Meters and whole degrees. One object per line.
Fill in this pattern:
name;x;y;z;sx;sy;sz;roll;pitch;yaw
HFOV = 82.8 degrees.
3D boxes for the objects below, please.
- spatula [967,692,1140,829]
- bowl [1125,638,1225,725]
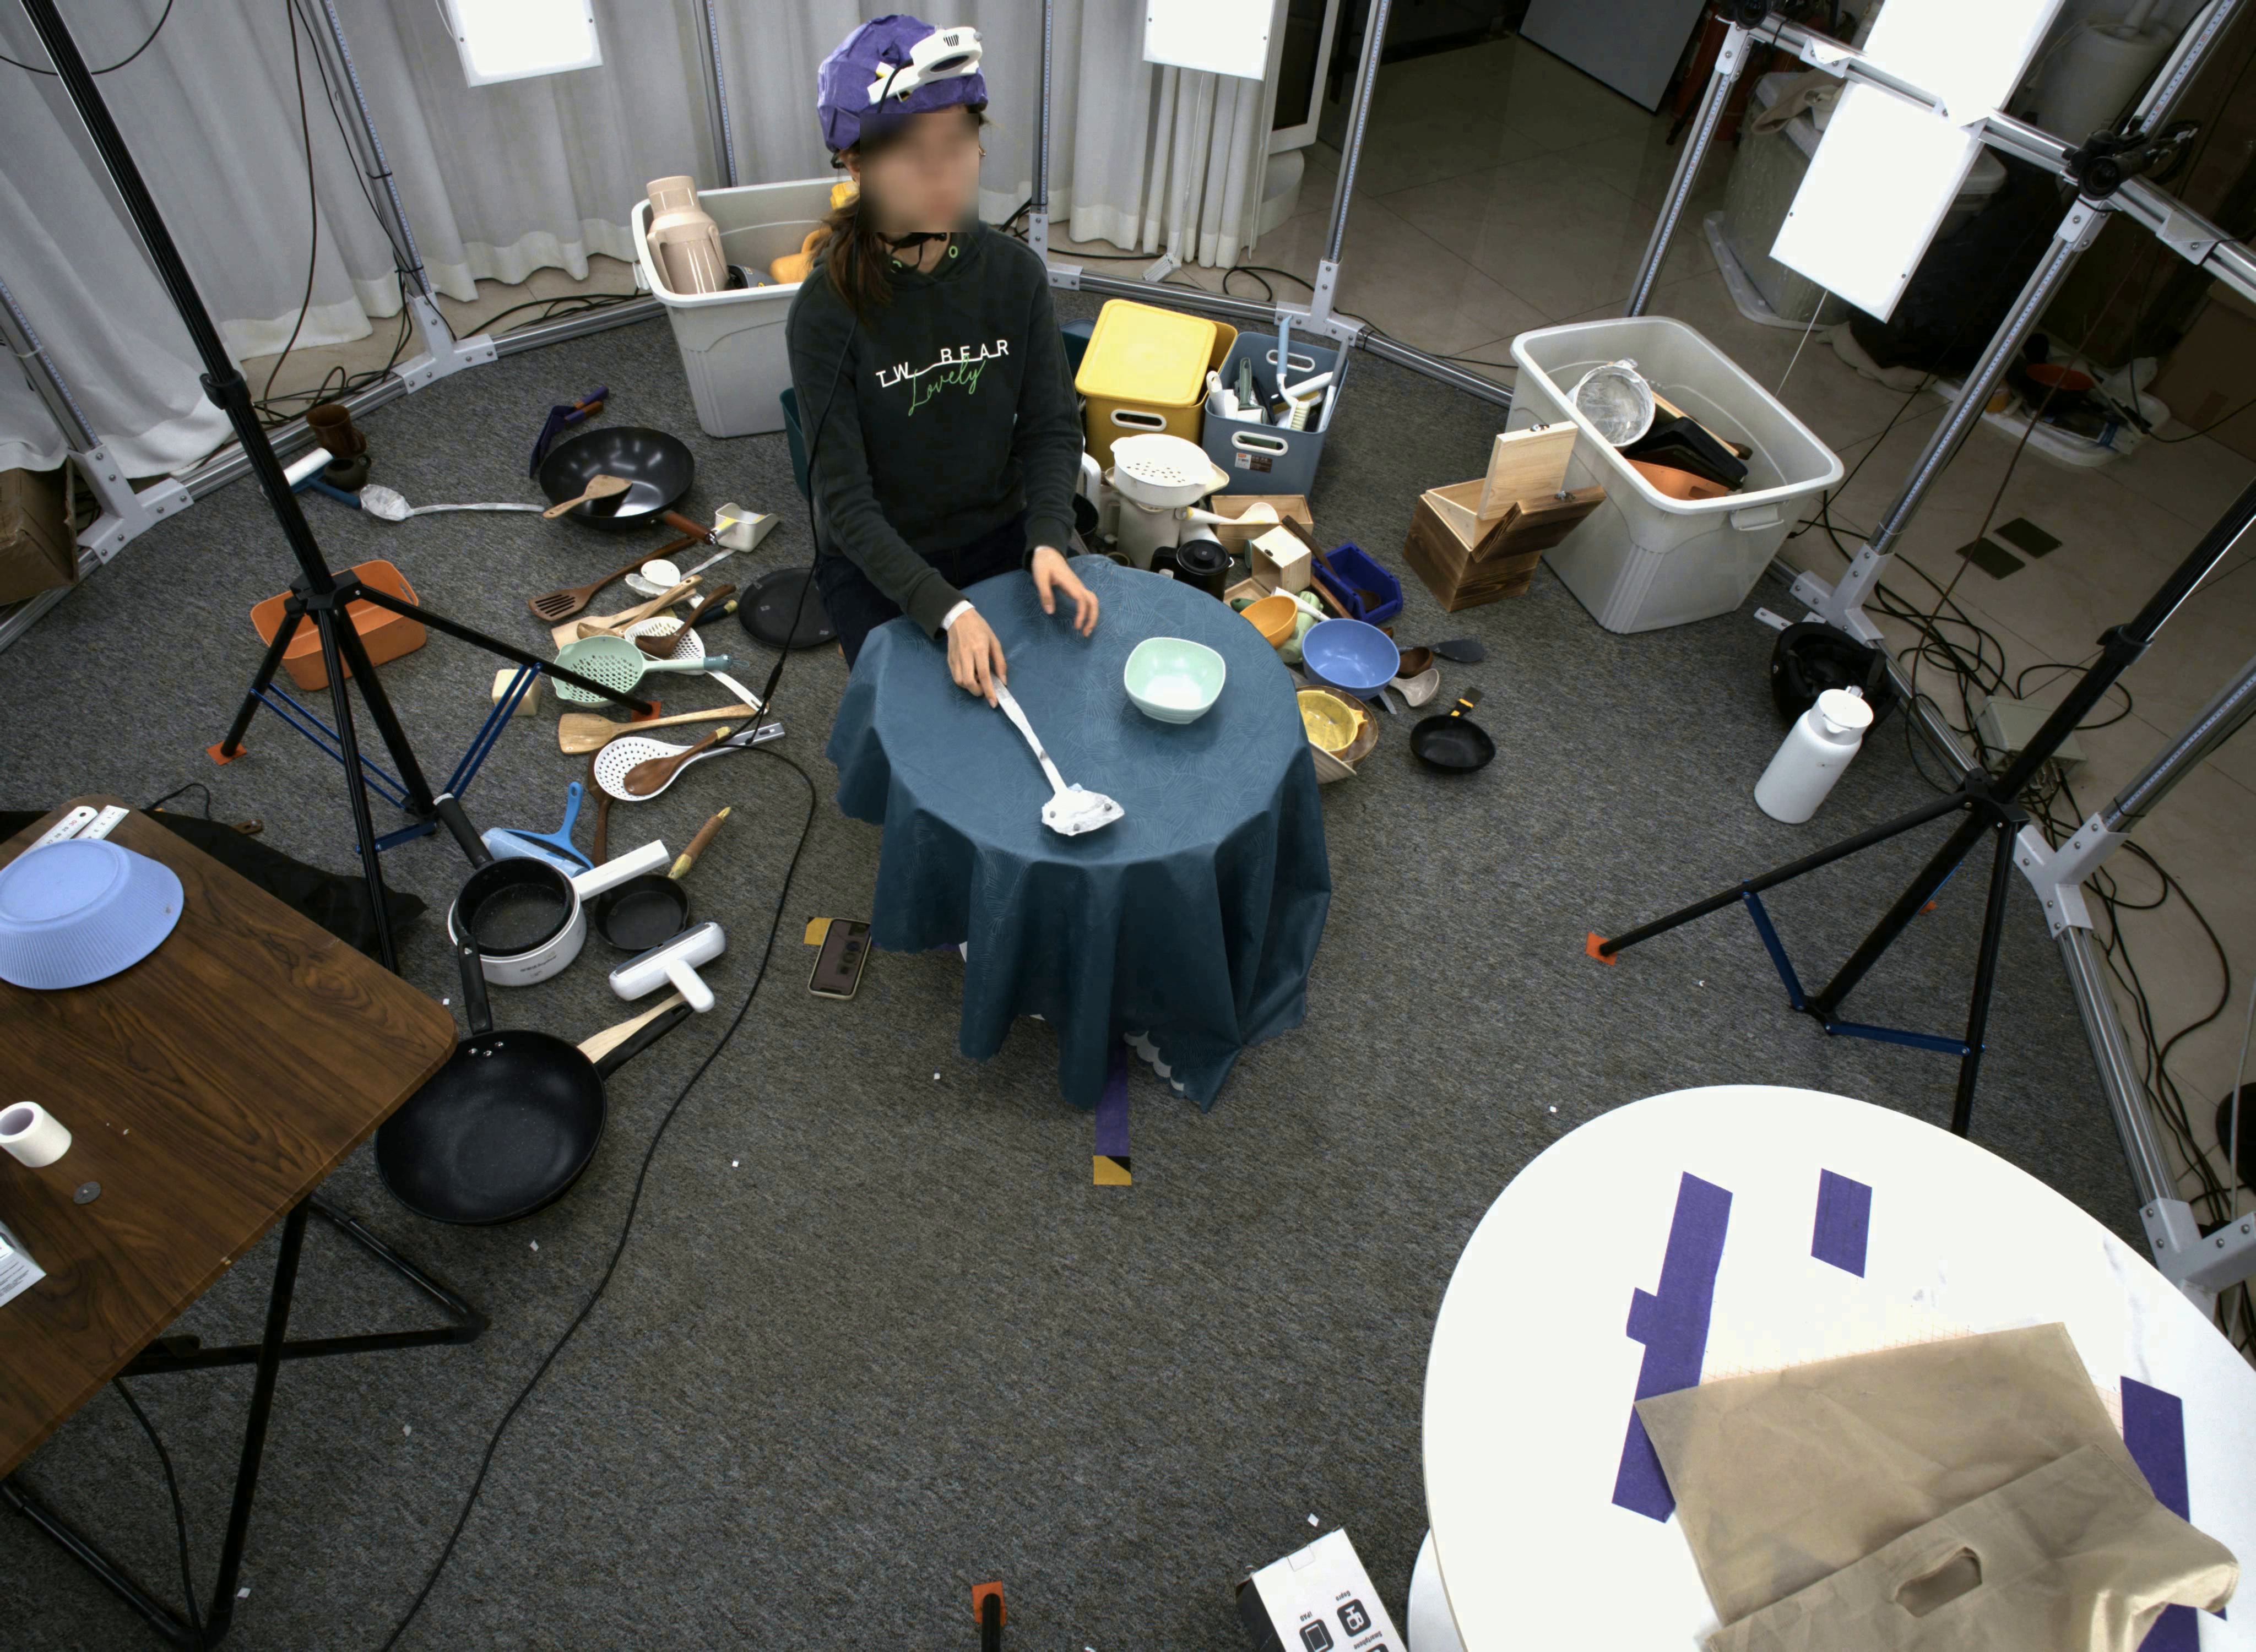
spatula;-0.122;-0.097;1.734;0.099;0.044;0.372;-15;46;-36
bowl;0.064;-0.196;1.823;0.151;0.057;0.155;3;50;-4
